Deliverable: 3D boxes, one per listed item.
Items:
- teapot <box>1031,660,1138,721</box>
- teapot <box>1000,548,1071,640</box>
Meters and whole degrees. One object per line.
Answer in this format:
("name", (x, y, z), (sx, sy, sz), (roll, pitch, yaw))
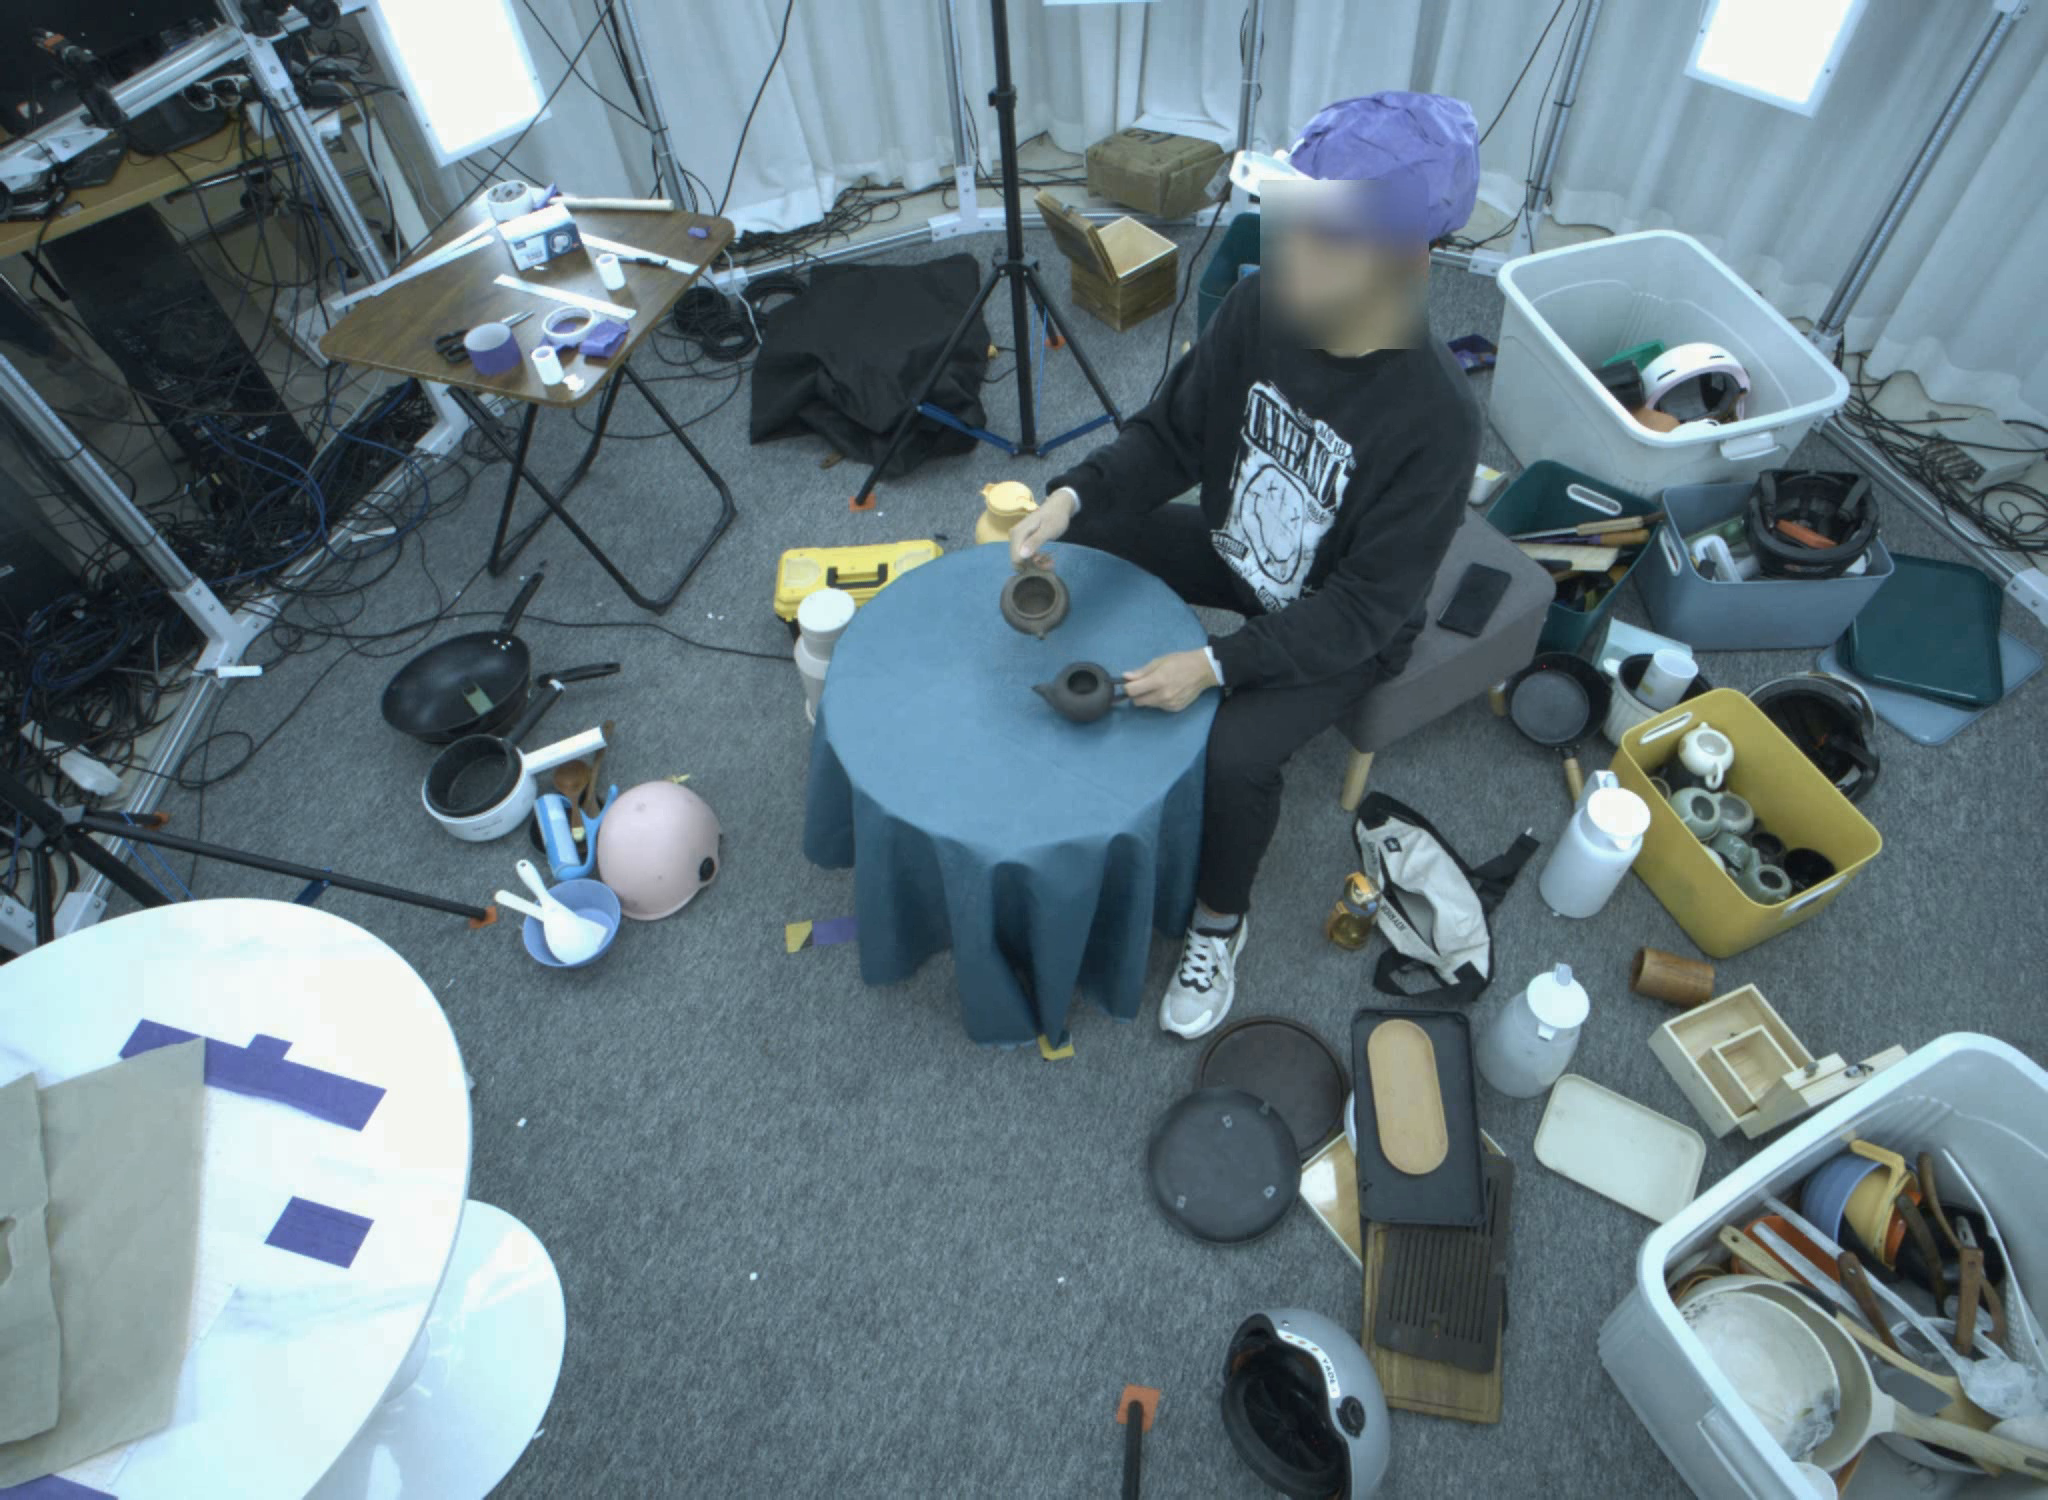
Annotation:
("teapot", (0.089, -0.086, 1.801), (0.154, 0.065, 0.091), (-4, 58, 3))
("teapot", (0.015, -0.221, 1.779), (0.103, 0.054, 0.152), (-14, 74, -5))
